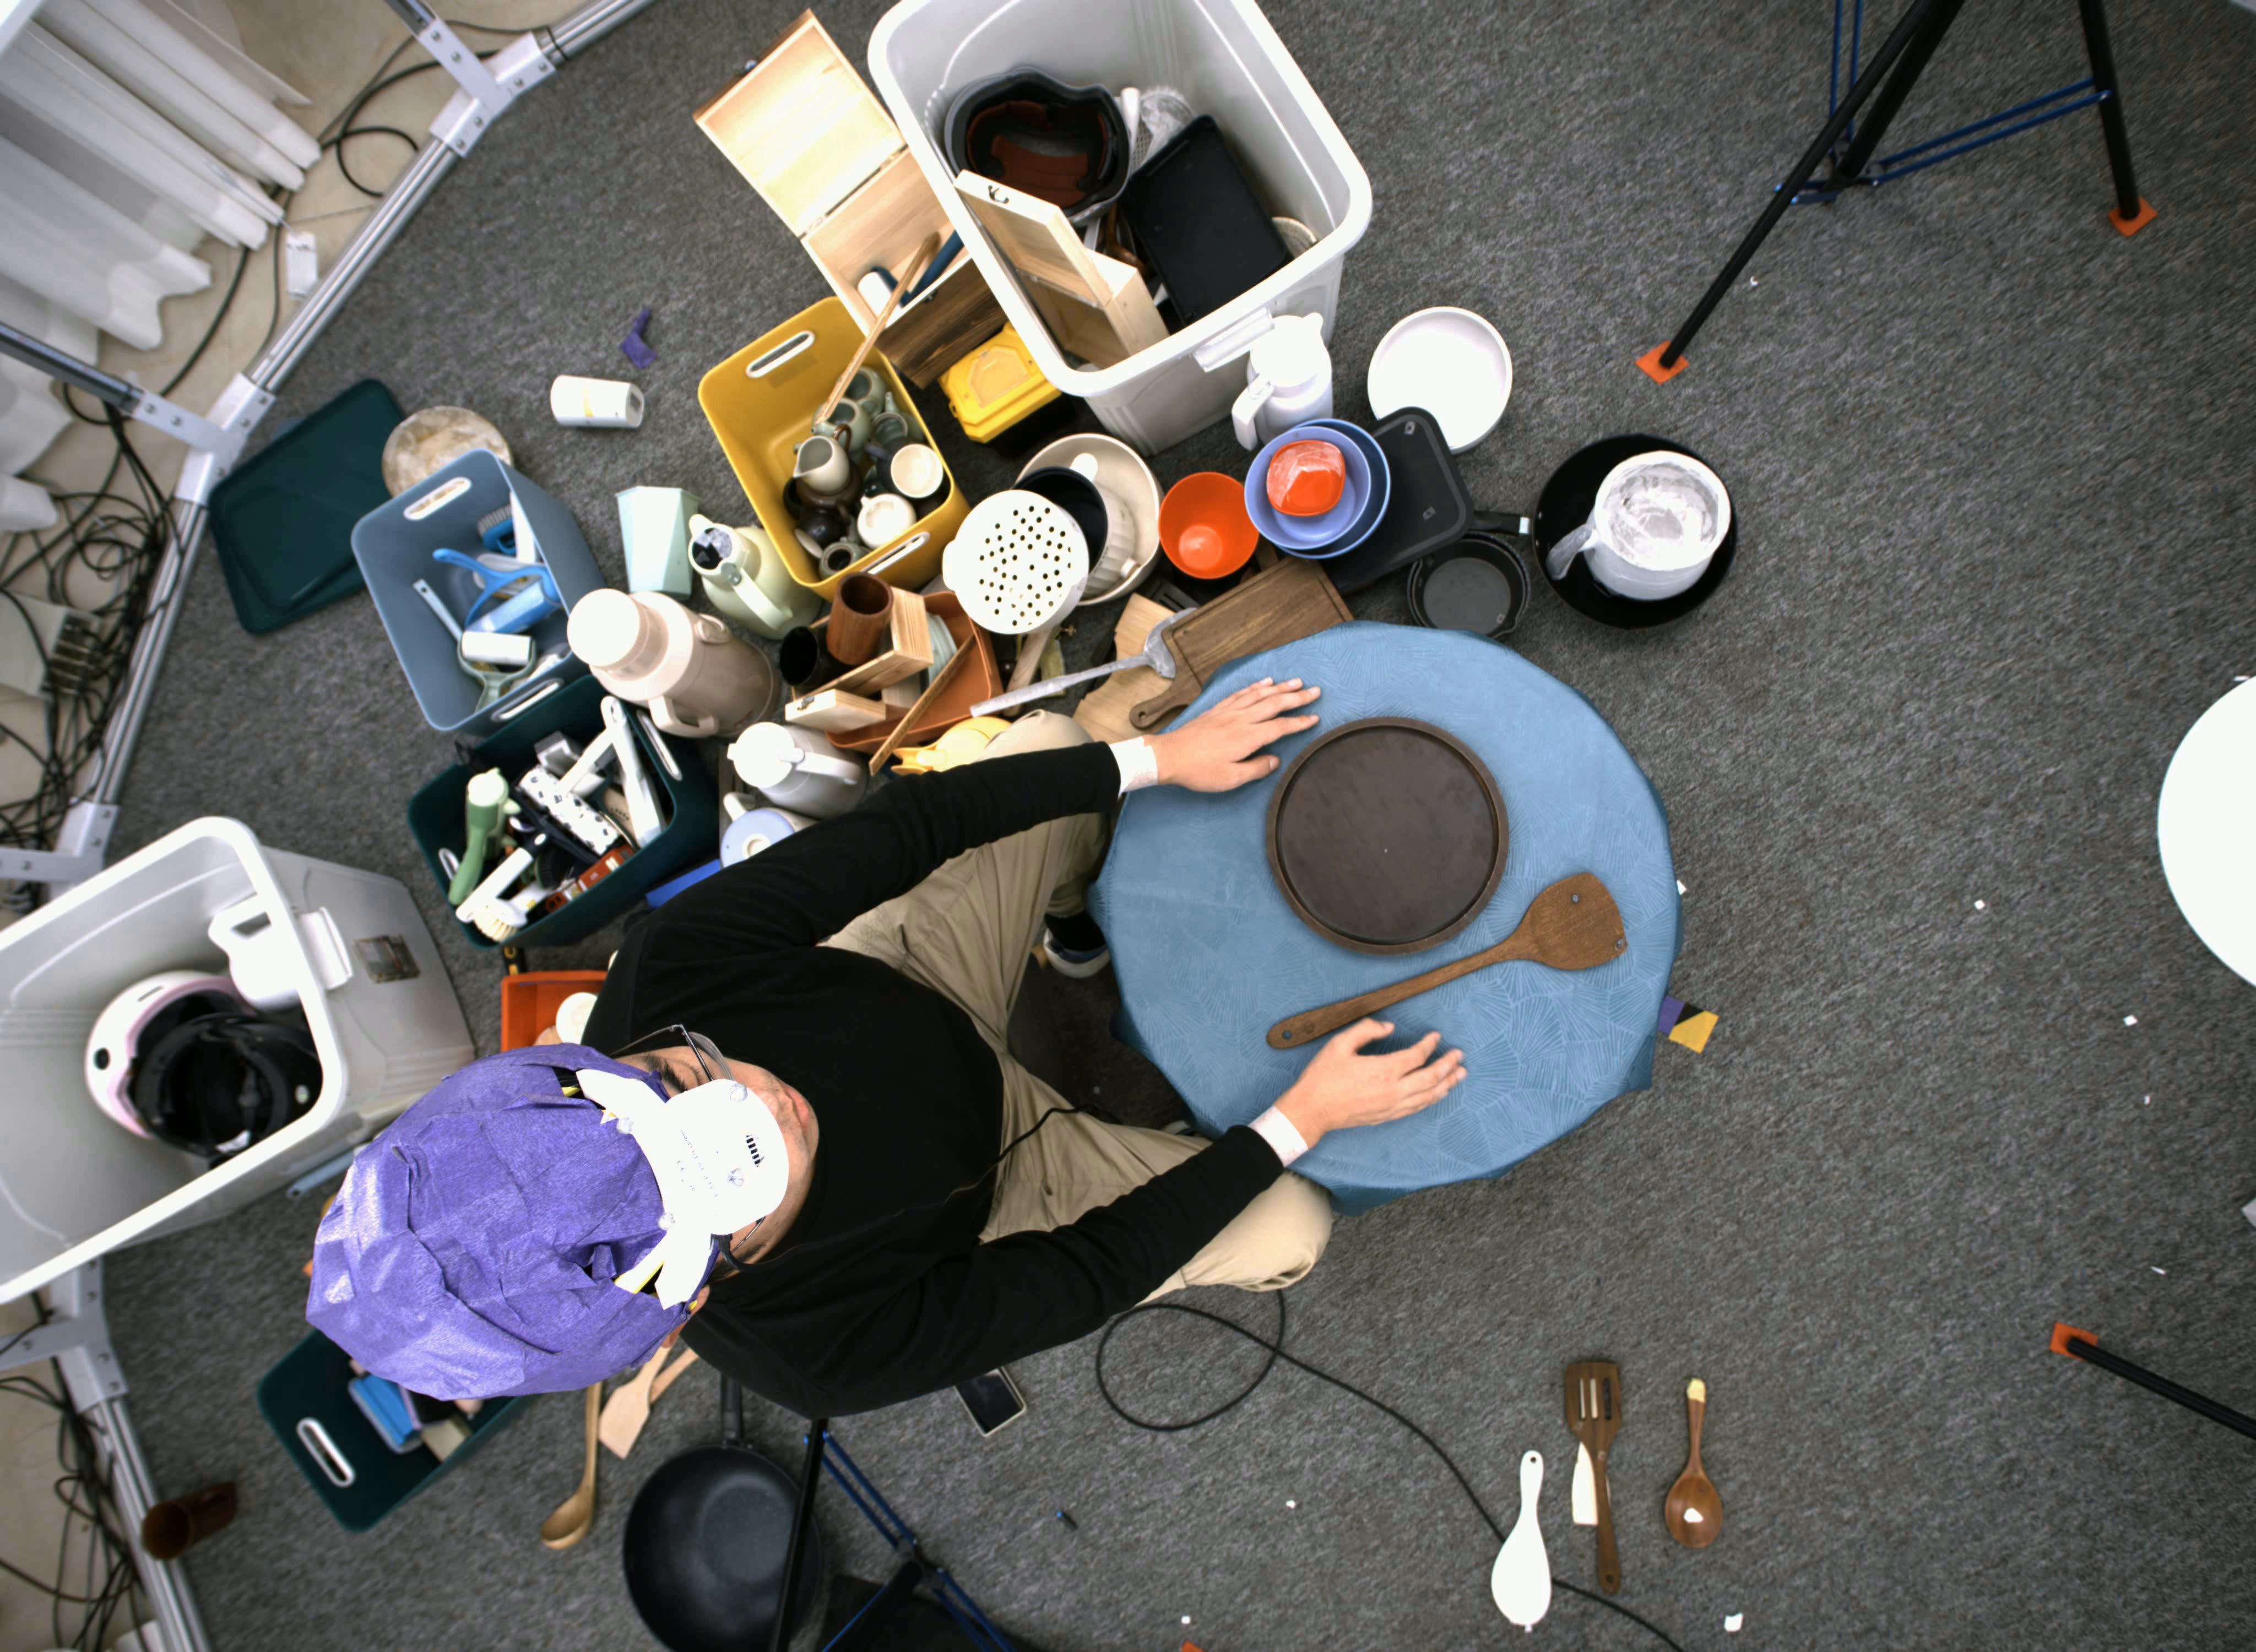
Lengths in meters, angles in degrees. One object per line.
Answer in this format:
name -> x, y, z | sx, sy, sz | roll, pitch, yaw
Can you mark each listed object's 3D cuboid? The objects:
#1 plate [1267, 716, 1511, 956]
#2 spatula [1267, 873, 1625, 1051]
plate -> 0.272, 0.009, 1.451 | 0.256, 0.029, 0.254 | -1, 88, 10
spatula -> 0.325, 0.155, 1.438 | 0.388, 0.016, 0.095 | -23, 82, 9
